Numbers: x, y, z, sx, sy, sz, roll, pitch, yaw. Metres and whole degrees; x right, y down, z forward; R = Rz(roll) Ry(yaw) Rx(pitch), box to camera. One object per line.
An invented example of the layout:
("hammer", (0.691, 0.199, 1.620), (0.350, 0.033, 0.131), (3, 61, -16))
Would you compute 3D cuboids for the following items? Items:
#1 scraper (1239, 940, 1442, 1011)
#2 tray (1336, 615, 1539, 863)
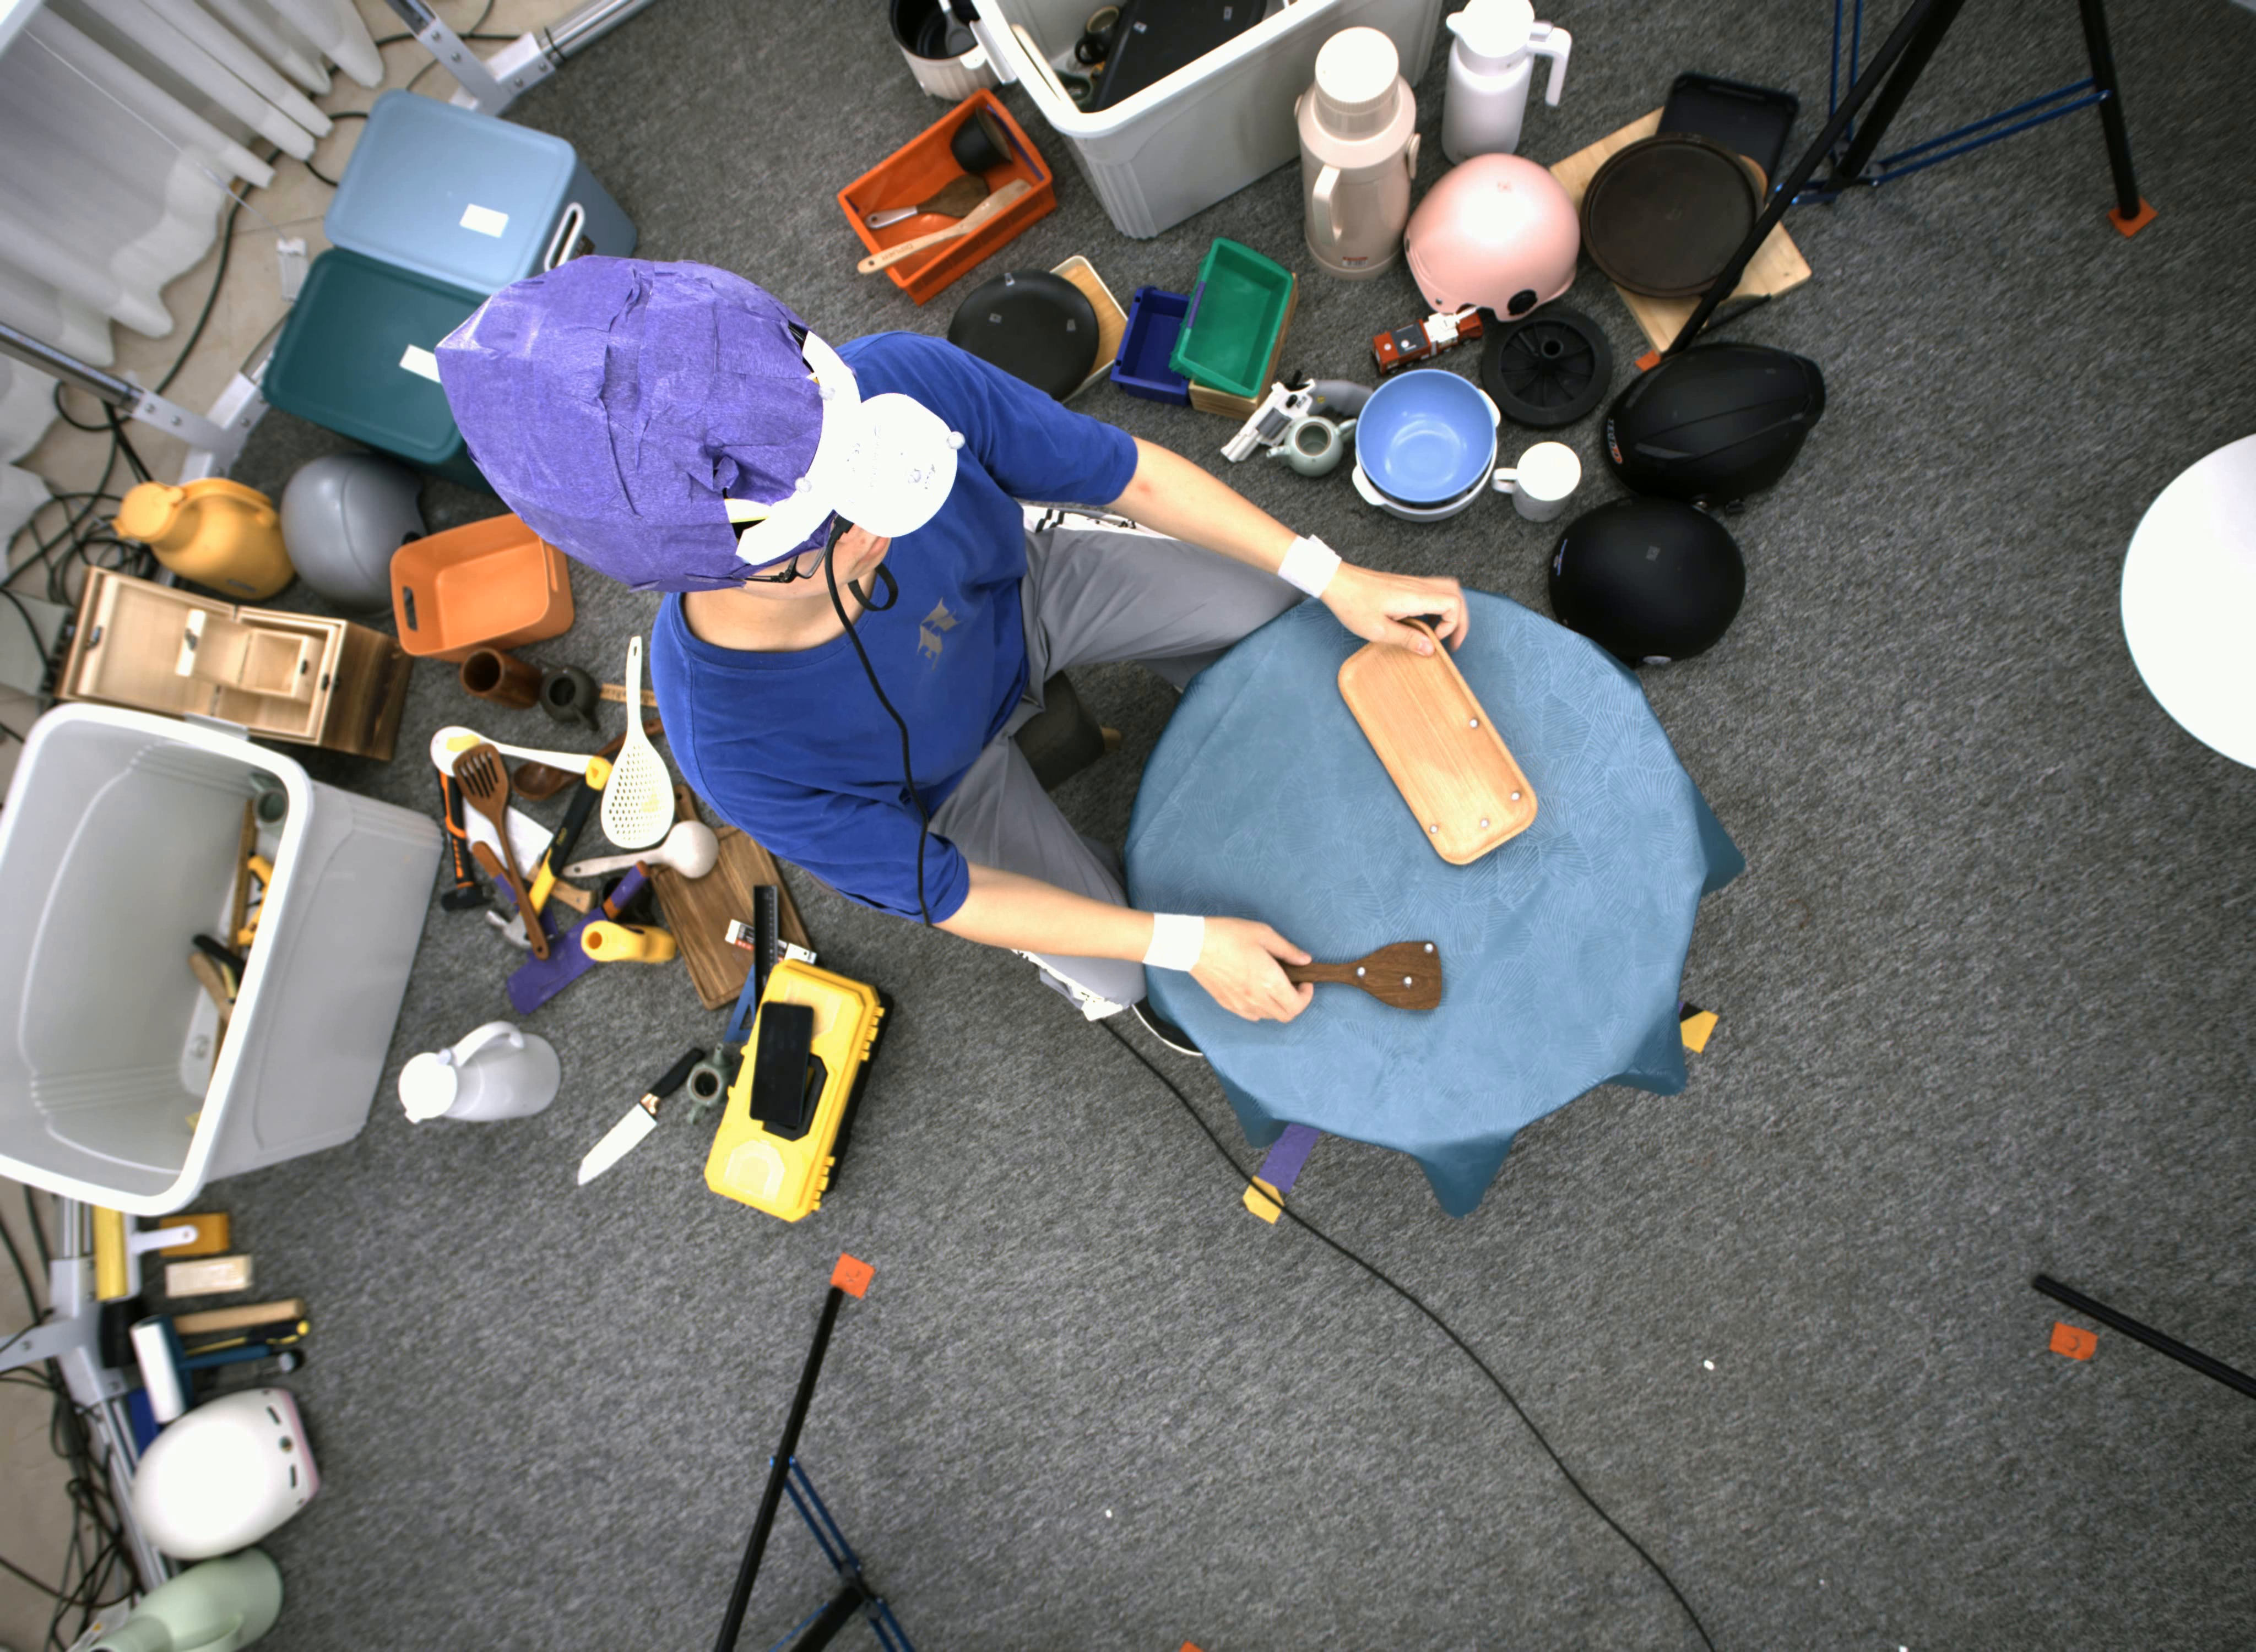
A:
("scraper", (0.221, 0.152, 1.446), (0.212, 0.011, 0.075), (2, 74, 6))
("tray", (0.318, -0.091, 1.418), (0.133, 0.022, 0.249), (-35, 81, 37))
